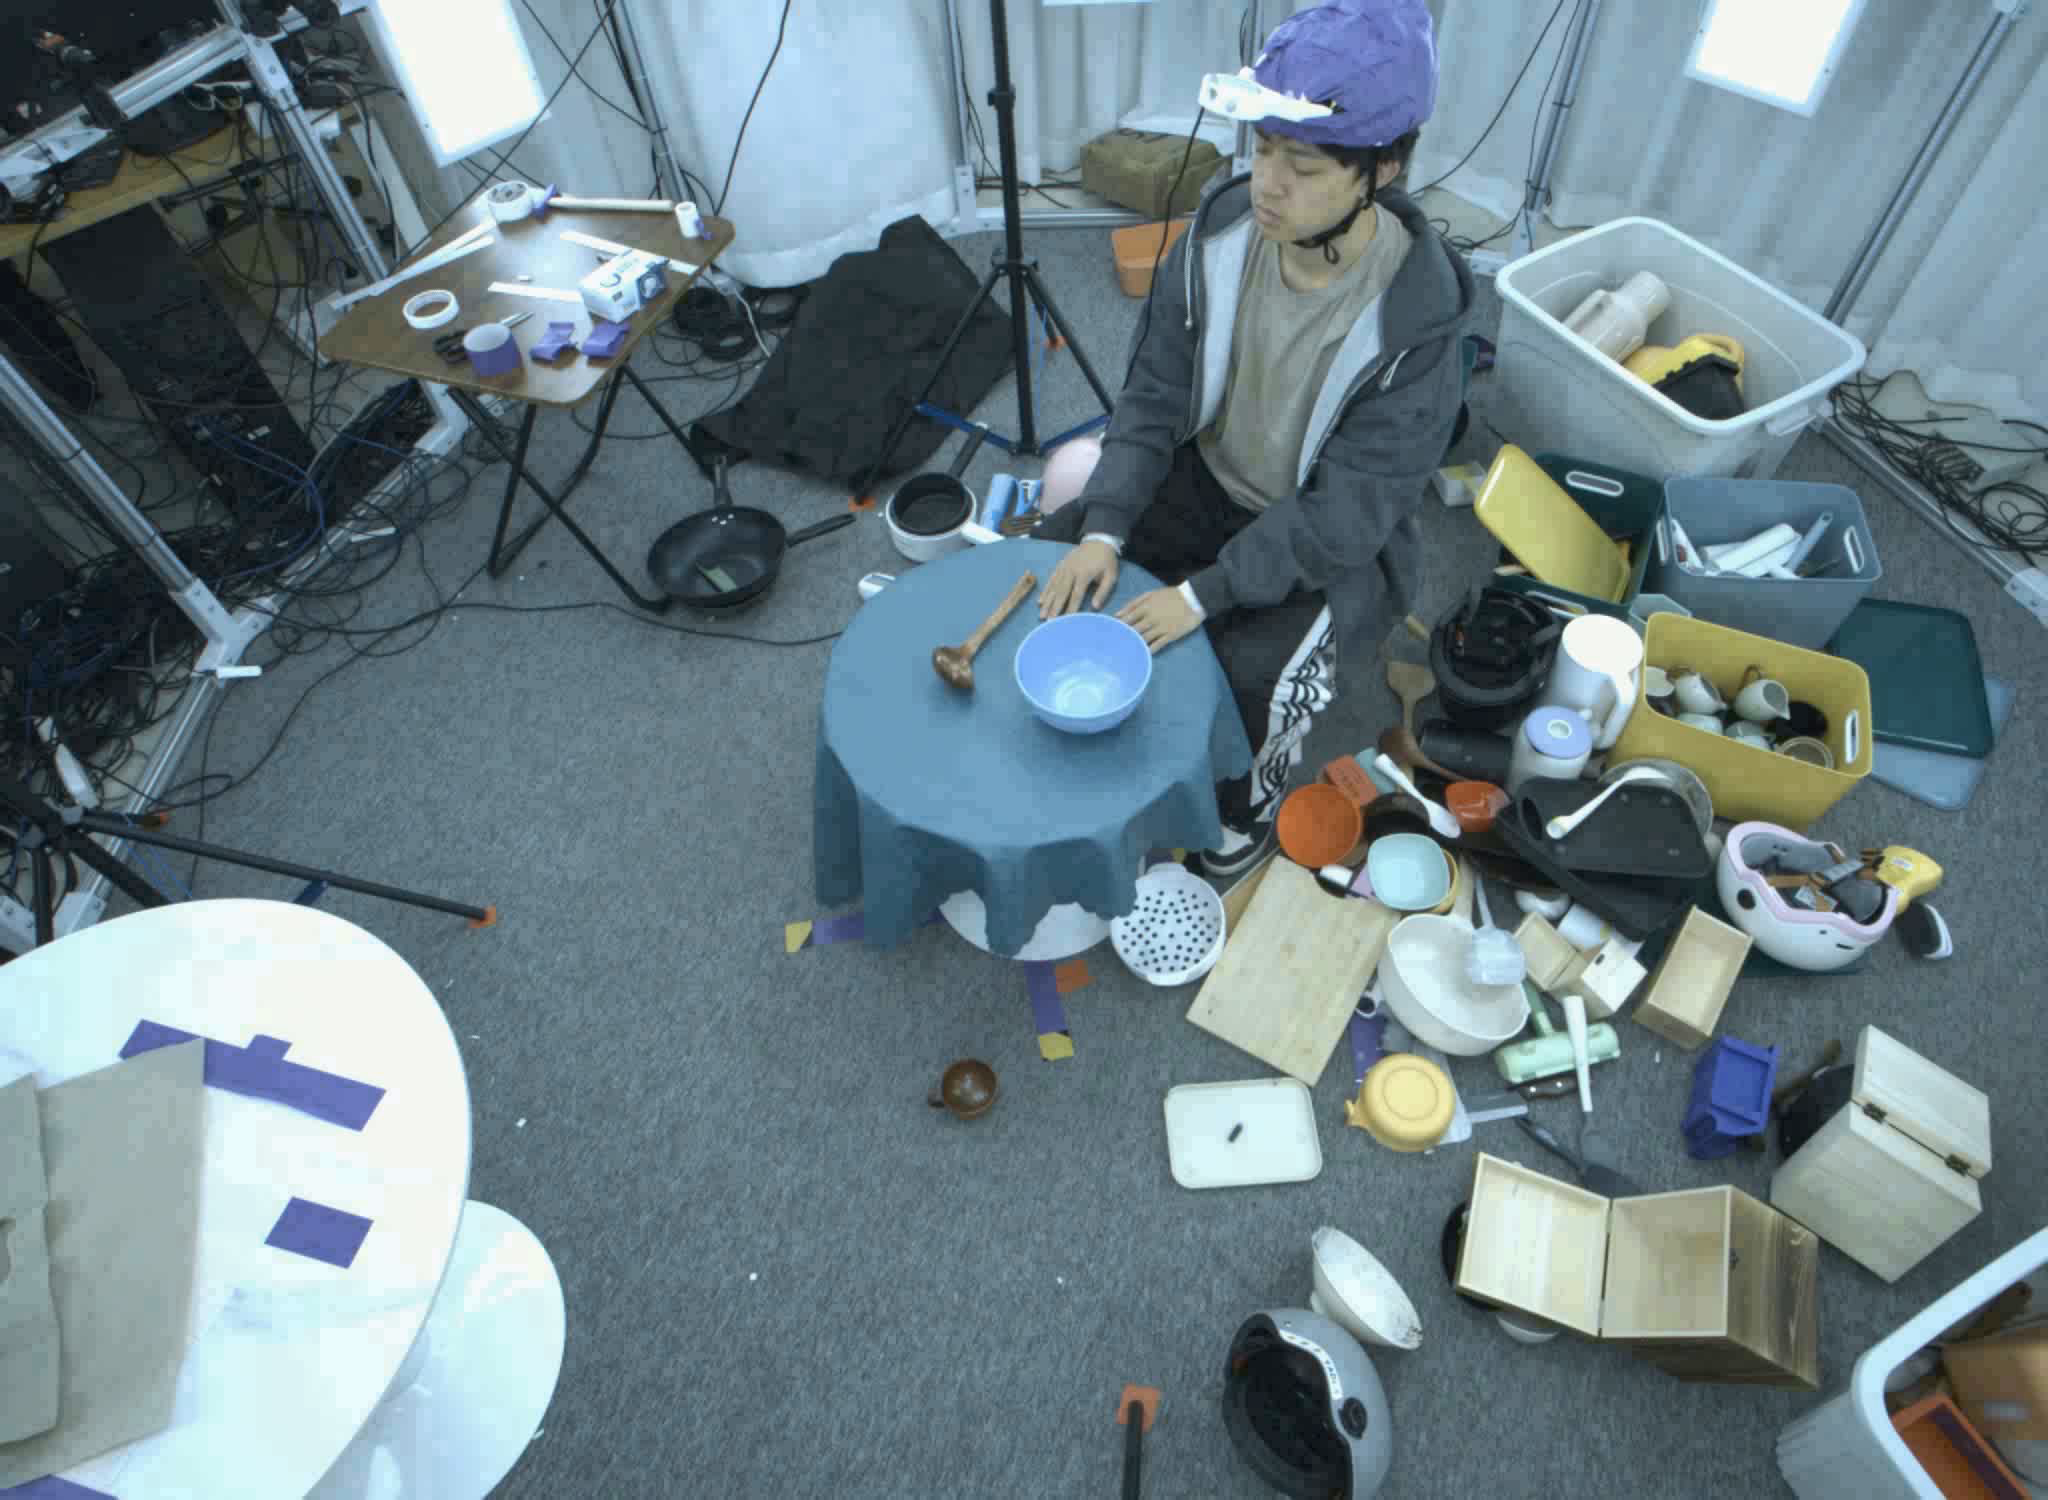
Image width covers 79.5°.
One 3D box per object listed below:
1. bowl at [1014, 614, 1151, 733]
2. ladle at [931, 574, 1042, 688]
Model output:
[{"bbox_3d":[0.087,-0.096,1.798,0.196,0.096,0.194,-1,53,2],"label":"bowl"},{"bbox_3d":[-0.046,-0.196,1.887,0.083,0.075,0.275,48,61,-13],"label":"ladle"}]
